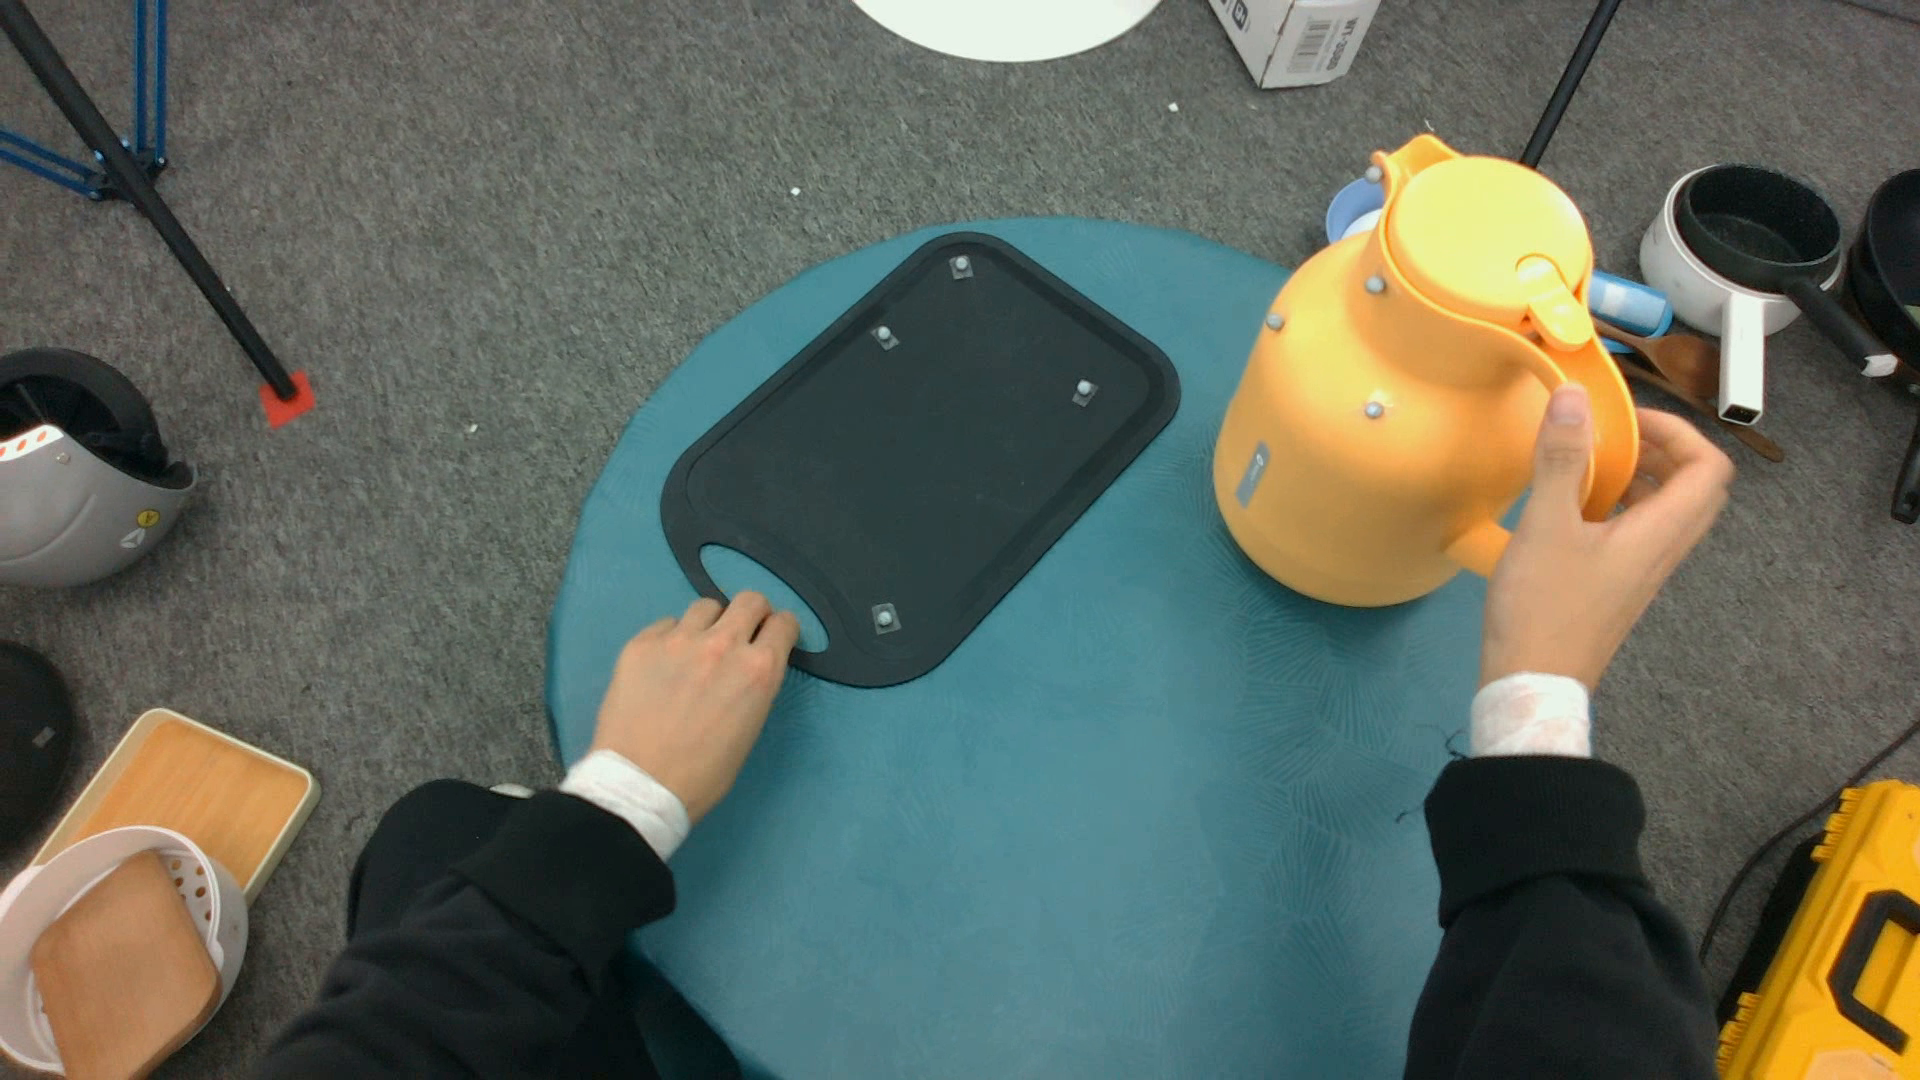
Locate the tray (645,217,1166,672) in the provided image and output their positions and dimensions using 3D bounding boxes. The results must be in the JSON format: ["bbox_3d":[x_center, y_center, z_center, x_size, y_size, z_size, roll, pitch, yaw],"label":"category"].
[{"bbox_3d":[-0.033,-0.067,0.846,0.211,0.010,0.326,38,66,16],"label":"tray"}]

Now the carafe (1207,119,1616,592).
[{"bbox_3d":[0.236,-0.075,0.722,0.164,0.259,0.203,-21,64,-11],"label":"carafe"}]
